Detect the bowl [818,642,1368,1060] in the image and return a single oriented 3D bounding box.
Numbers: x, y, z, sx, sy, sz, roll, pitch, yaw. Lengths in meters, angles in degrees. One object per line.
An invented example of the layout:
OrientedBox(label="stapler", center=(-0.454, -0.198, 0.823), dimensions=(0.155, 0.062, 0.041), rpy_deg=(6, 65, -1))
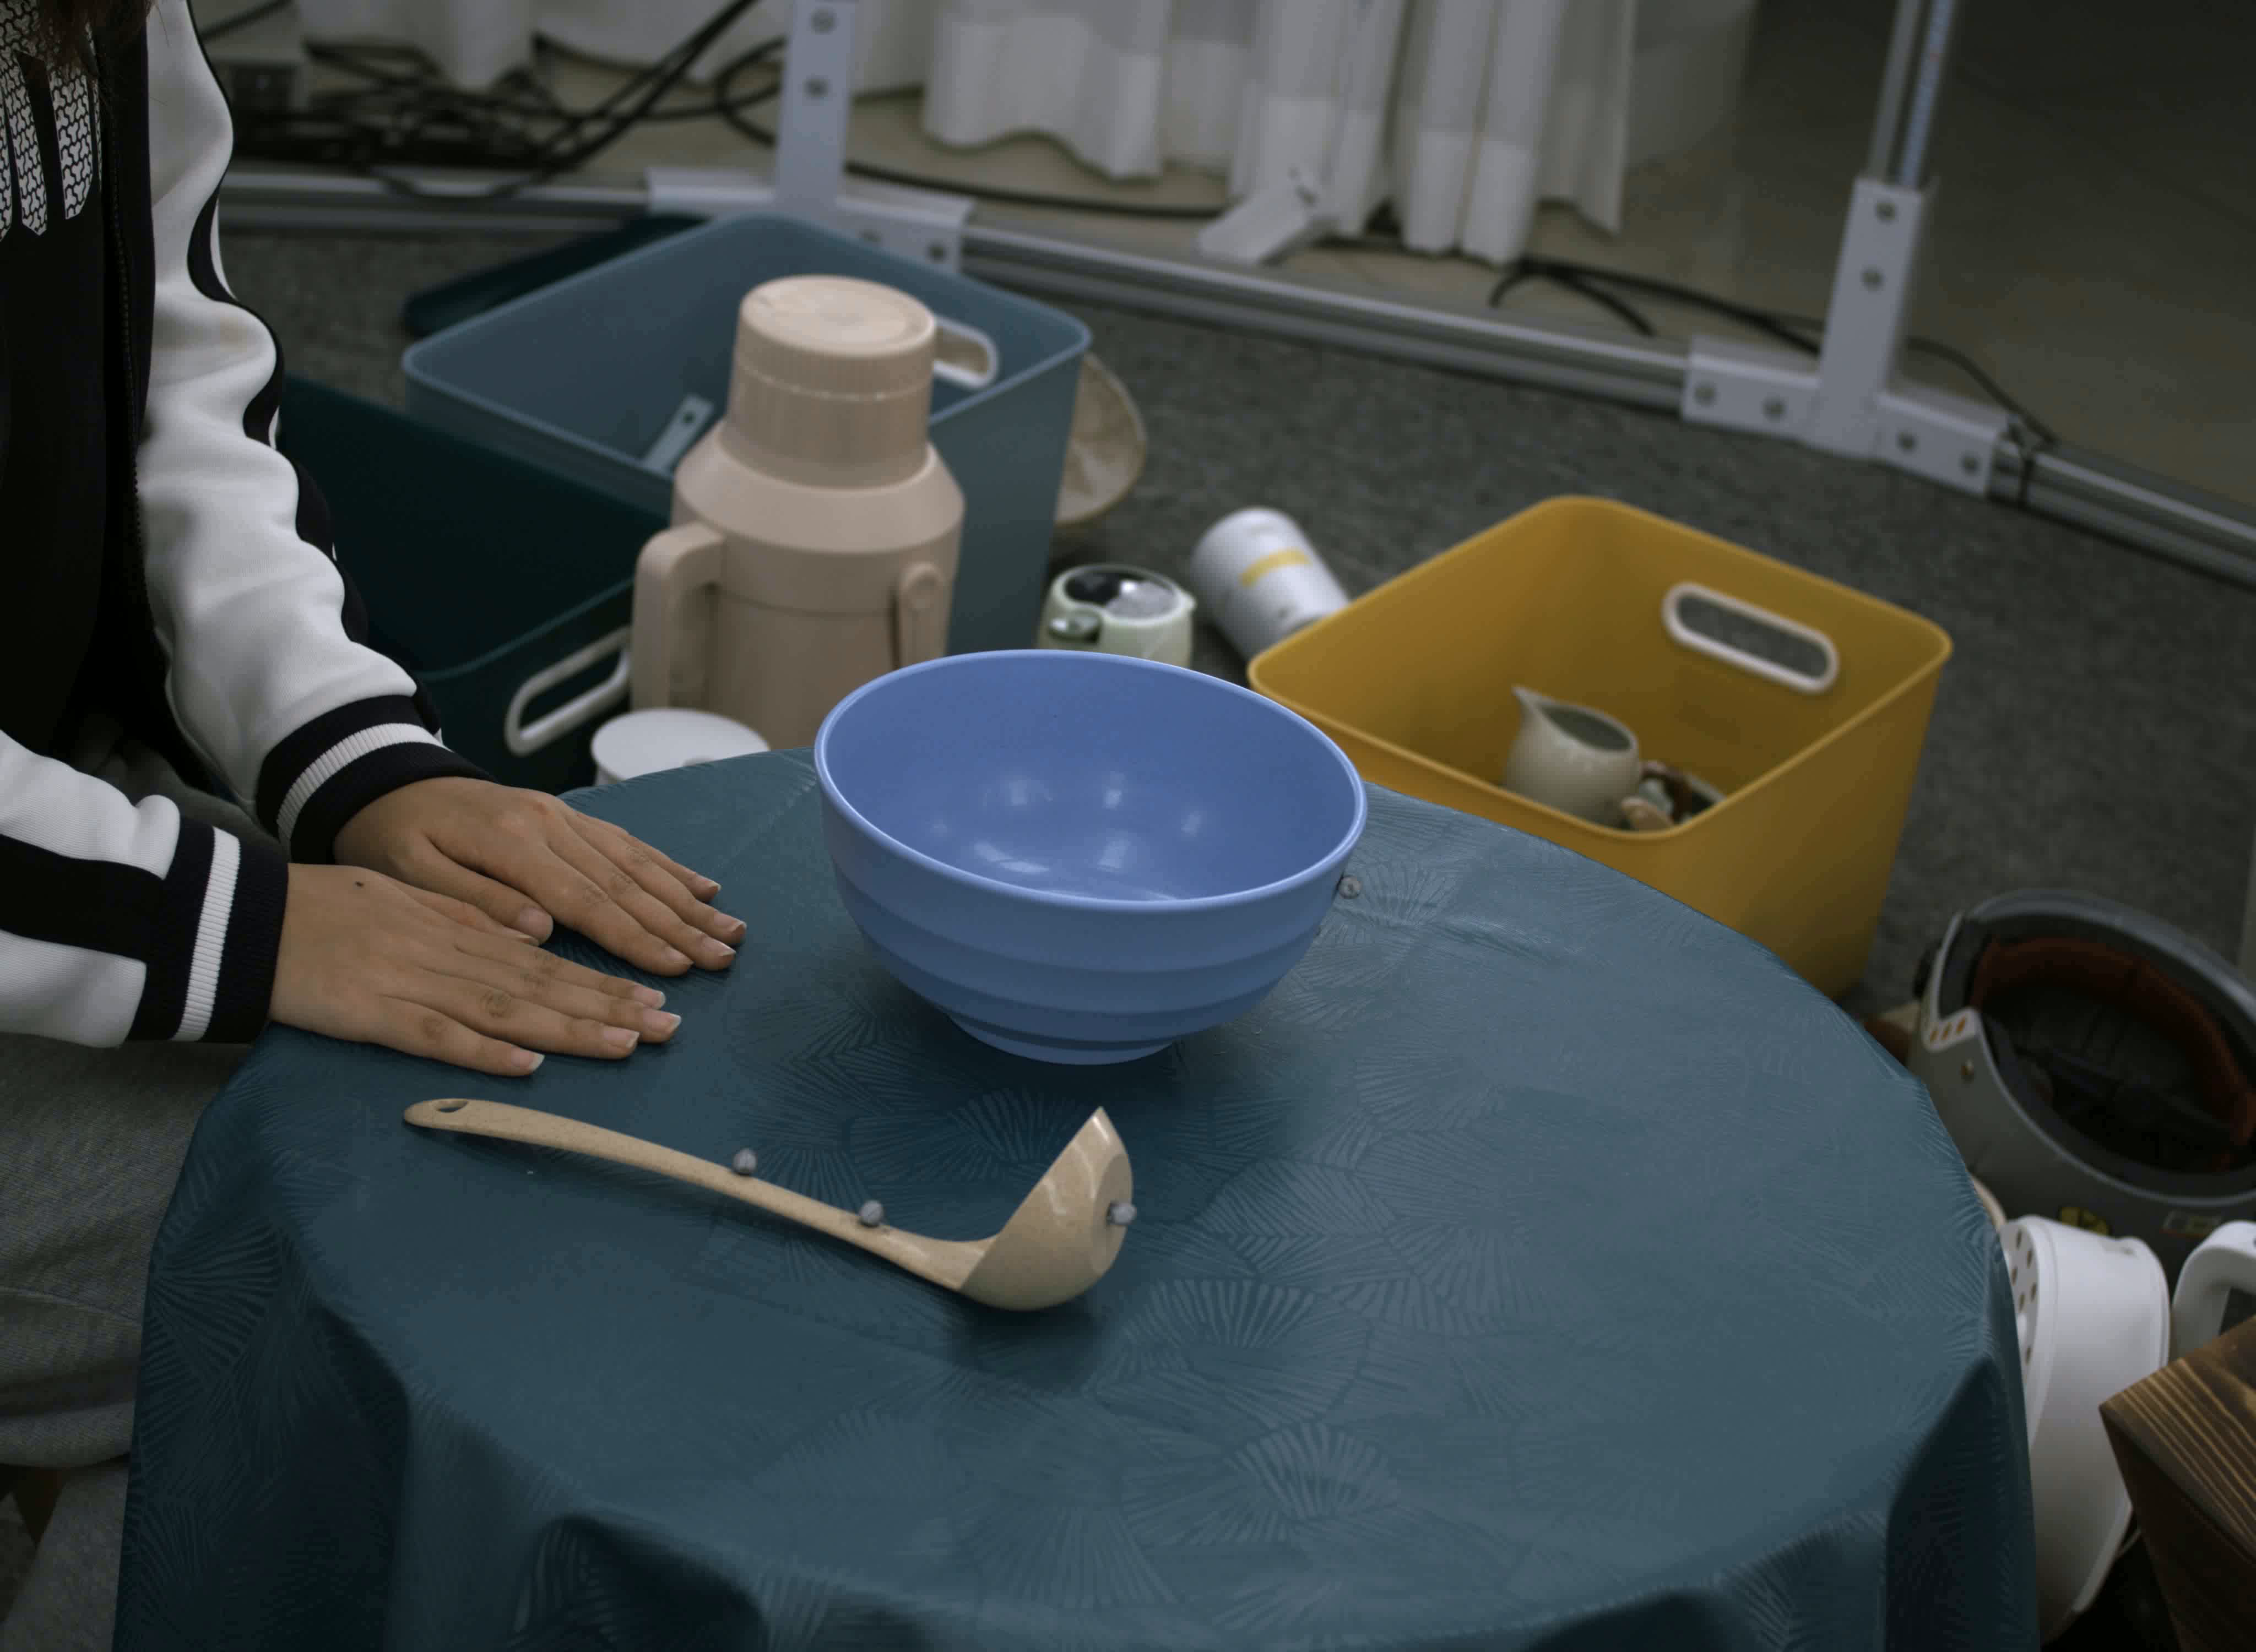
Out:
OrientedBox(label="bowl", center=(-0.019, 0.020, 1.894), dimensions=(0.196, 0.095, 0.197), rpy_deg=(7, 27, -4))

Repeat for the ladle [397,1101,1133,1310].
OrientedBox(label="ladle", center=(-0.123, 0.098, 1.745), dimensions=(0.255, 0.072, 0.072), rpy_deg=(14, 27, 15))
